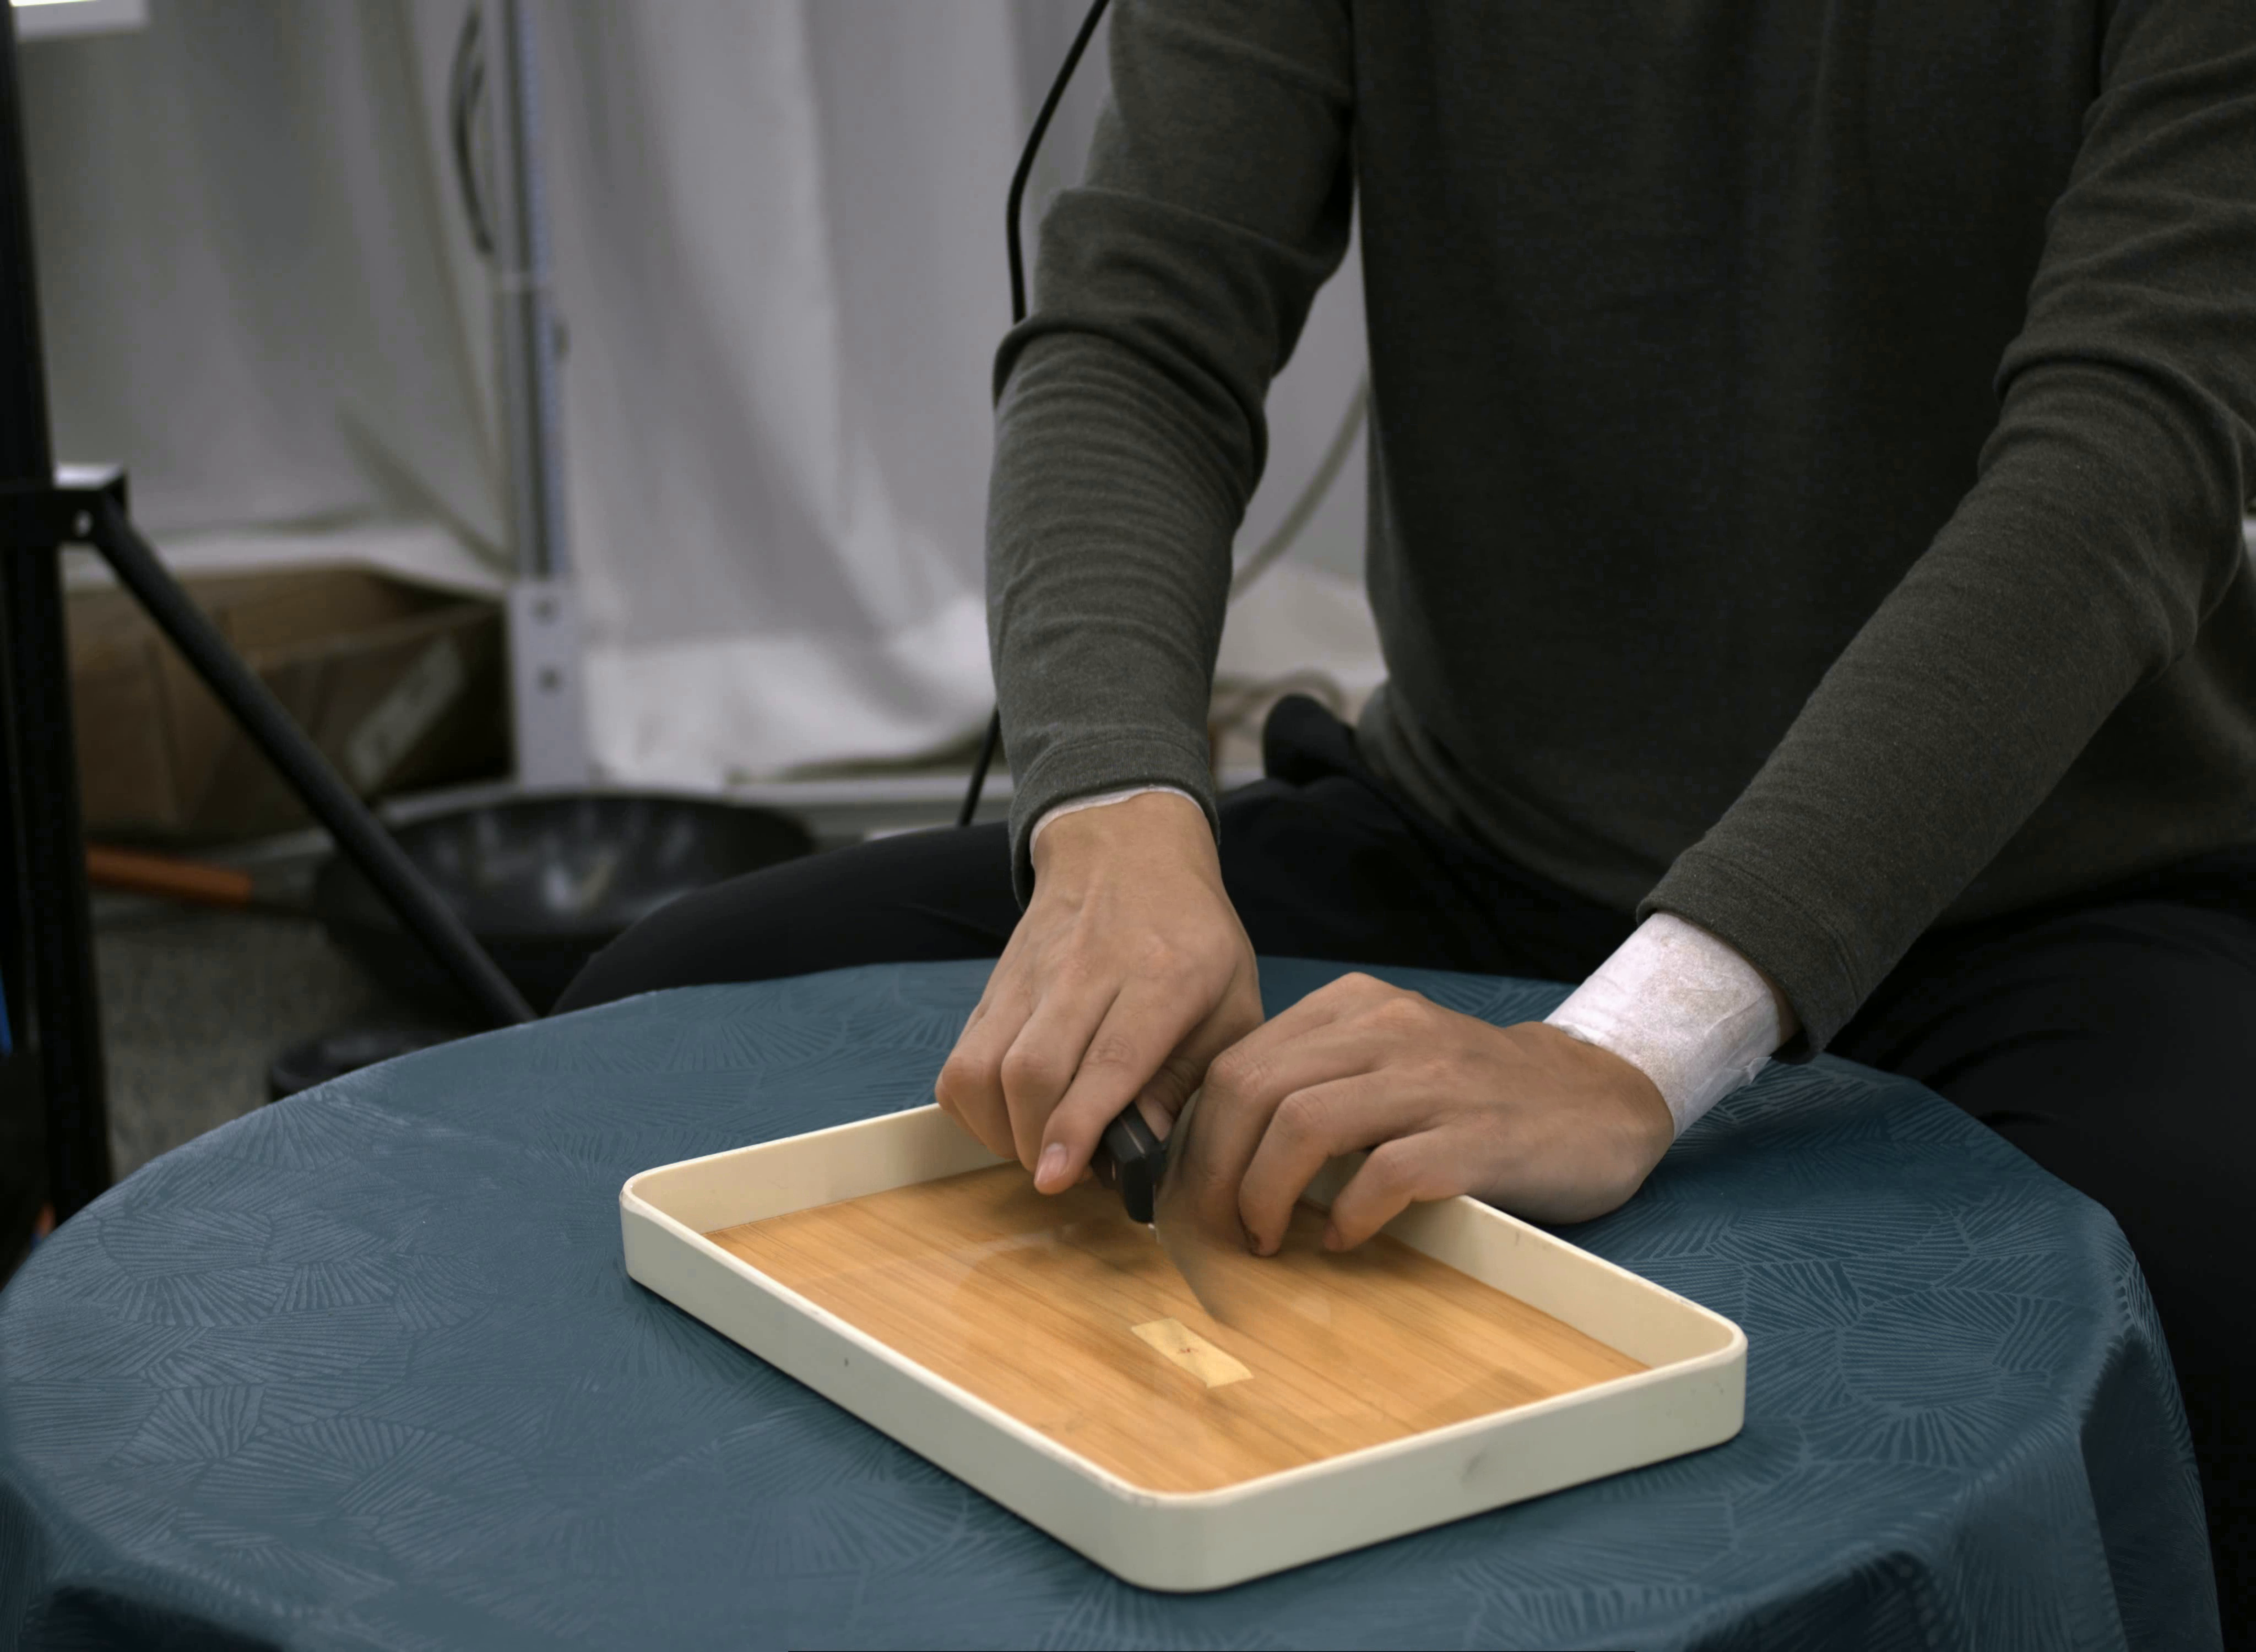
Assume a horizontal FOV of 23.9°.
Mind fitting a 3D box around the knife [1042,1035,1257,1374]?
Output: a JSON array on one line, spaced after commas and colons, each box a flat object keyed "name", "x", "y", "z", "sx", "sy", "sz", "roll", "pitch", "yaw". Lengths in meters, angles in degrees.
[{"name": "knife", "x": 0.007, "y": 0.101, "z": 1.453, "sx": 0.016, "sy": 0.024, "sz": 0.241, "roll": -3, "pitch": 17, "yaw": -12}]

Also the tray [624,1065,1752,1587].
[{"name": "tray", "x": 0.009, "y": 0.129, "z": 1.438, "sx": 0.187, "sy": 0.027, "sz": 0.307, "roll": -10, "pitch": 18, "yaw": -29}]
